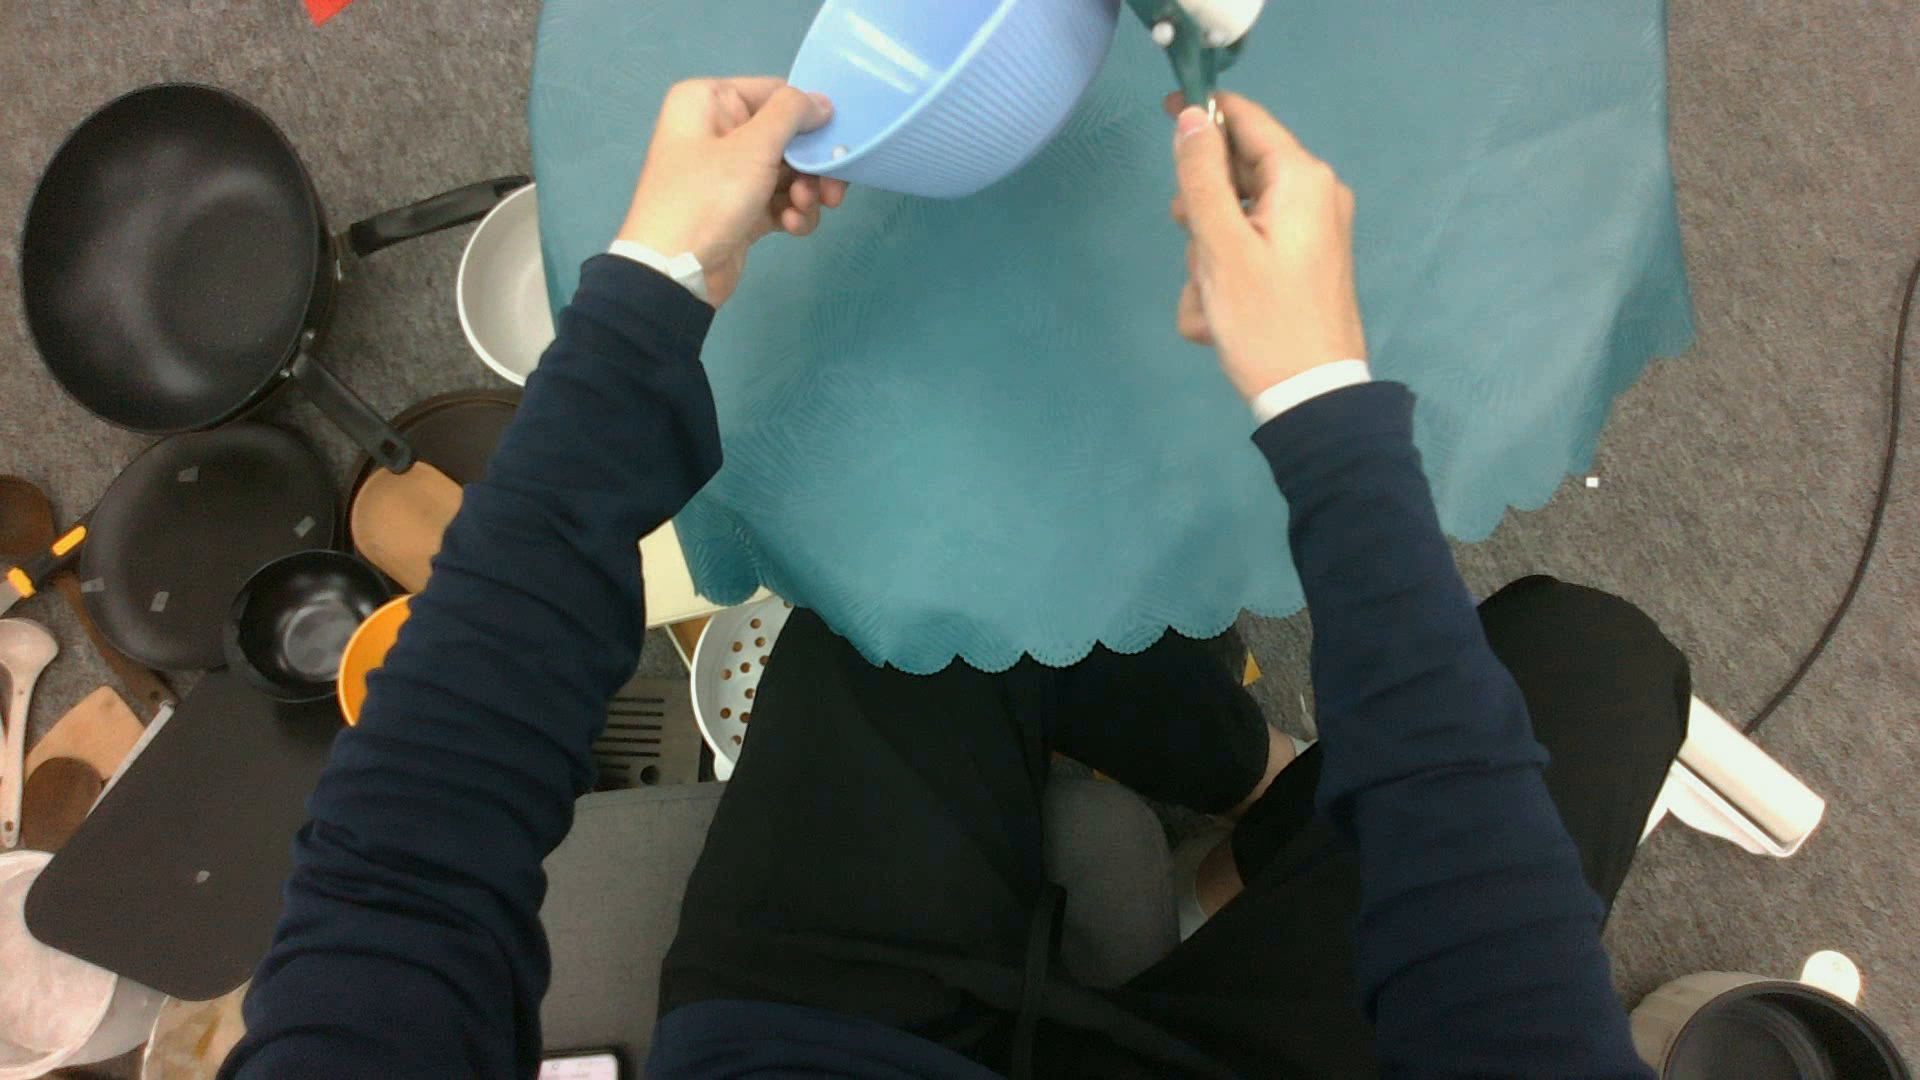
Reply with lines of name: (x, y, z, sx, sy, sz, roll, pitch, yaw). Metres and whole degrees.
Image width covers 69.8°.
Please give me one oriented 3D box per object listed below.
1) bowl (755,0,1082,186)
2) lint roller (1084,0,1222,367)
bowl: (-0.010, -0.220, 0.592, 0.070, 0.176, 0.176, 30, 79, -32)
lint roller: (0.092, -0.162, 0.553, 0.048, 0.134, 0.180, -16, 90, 20)
